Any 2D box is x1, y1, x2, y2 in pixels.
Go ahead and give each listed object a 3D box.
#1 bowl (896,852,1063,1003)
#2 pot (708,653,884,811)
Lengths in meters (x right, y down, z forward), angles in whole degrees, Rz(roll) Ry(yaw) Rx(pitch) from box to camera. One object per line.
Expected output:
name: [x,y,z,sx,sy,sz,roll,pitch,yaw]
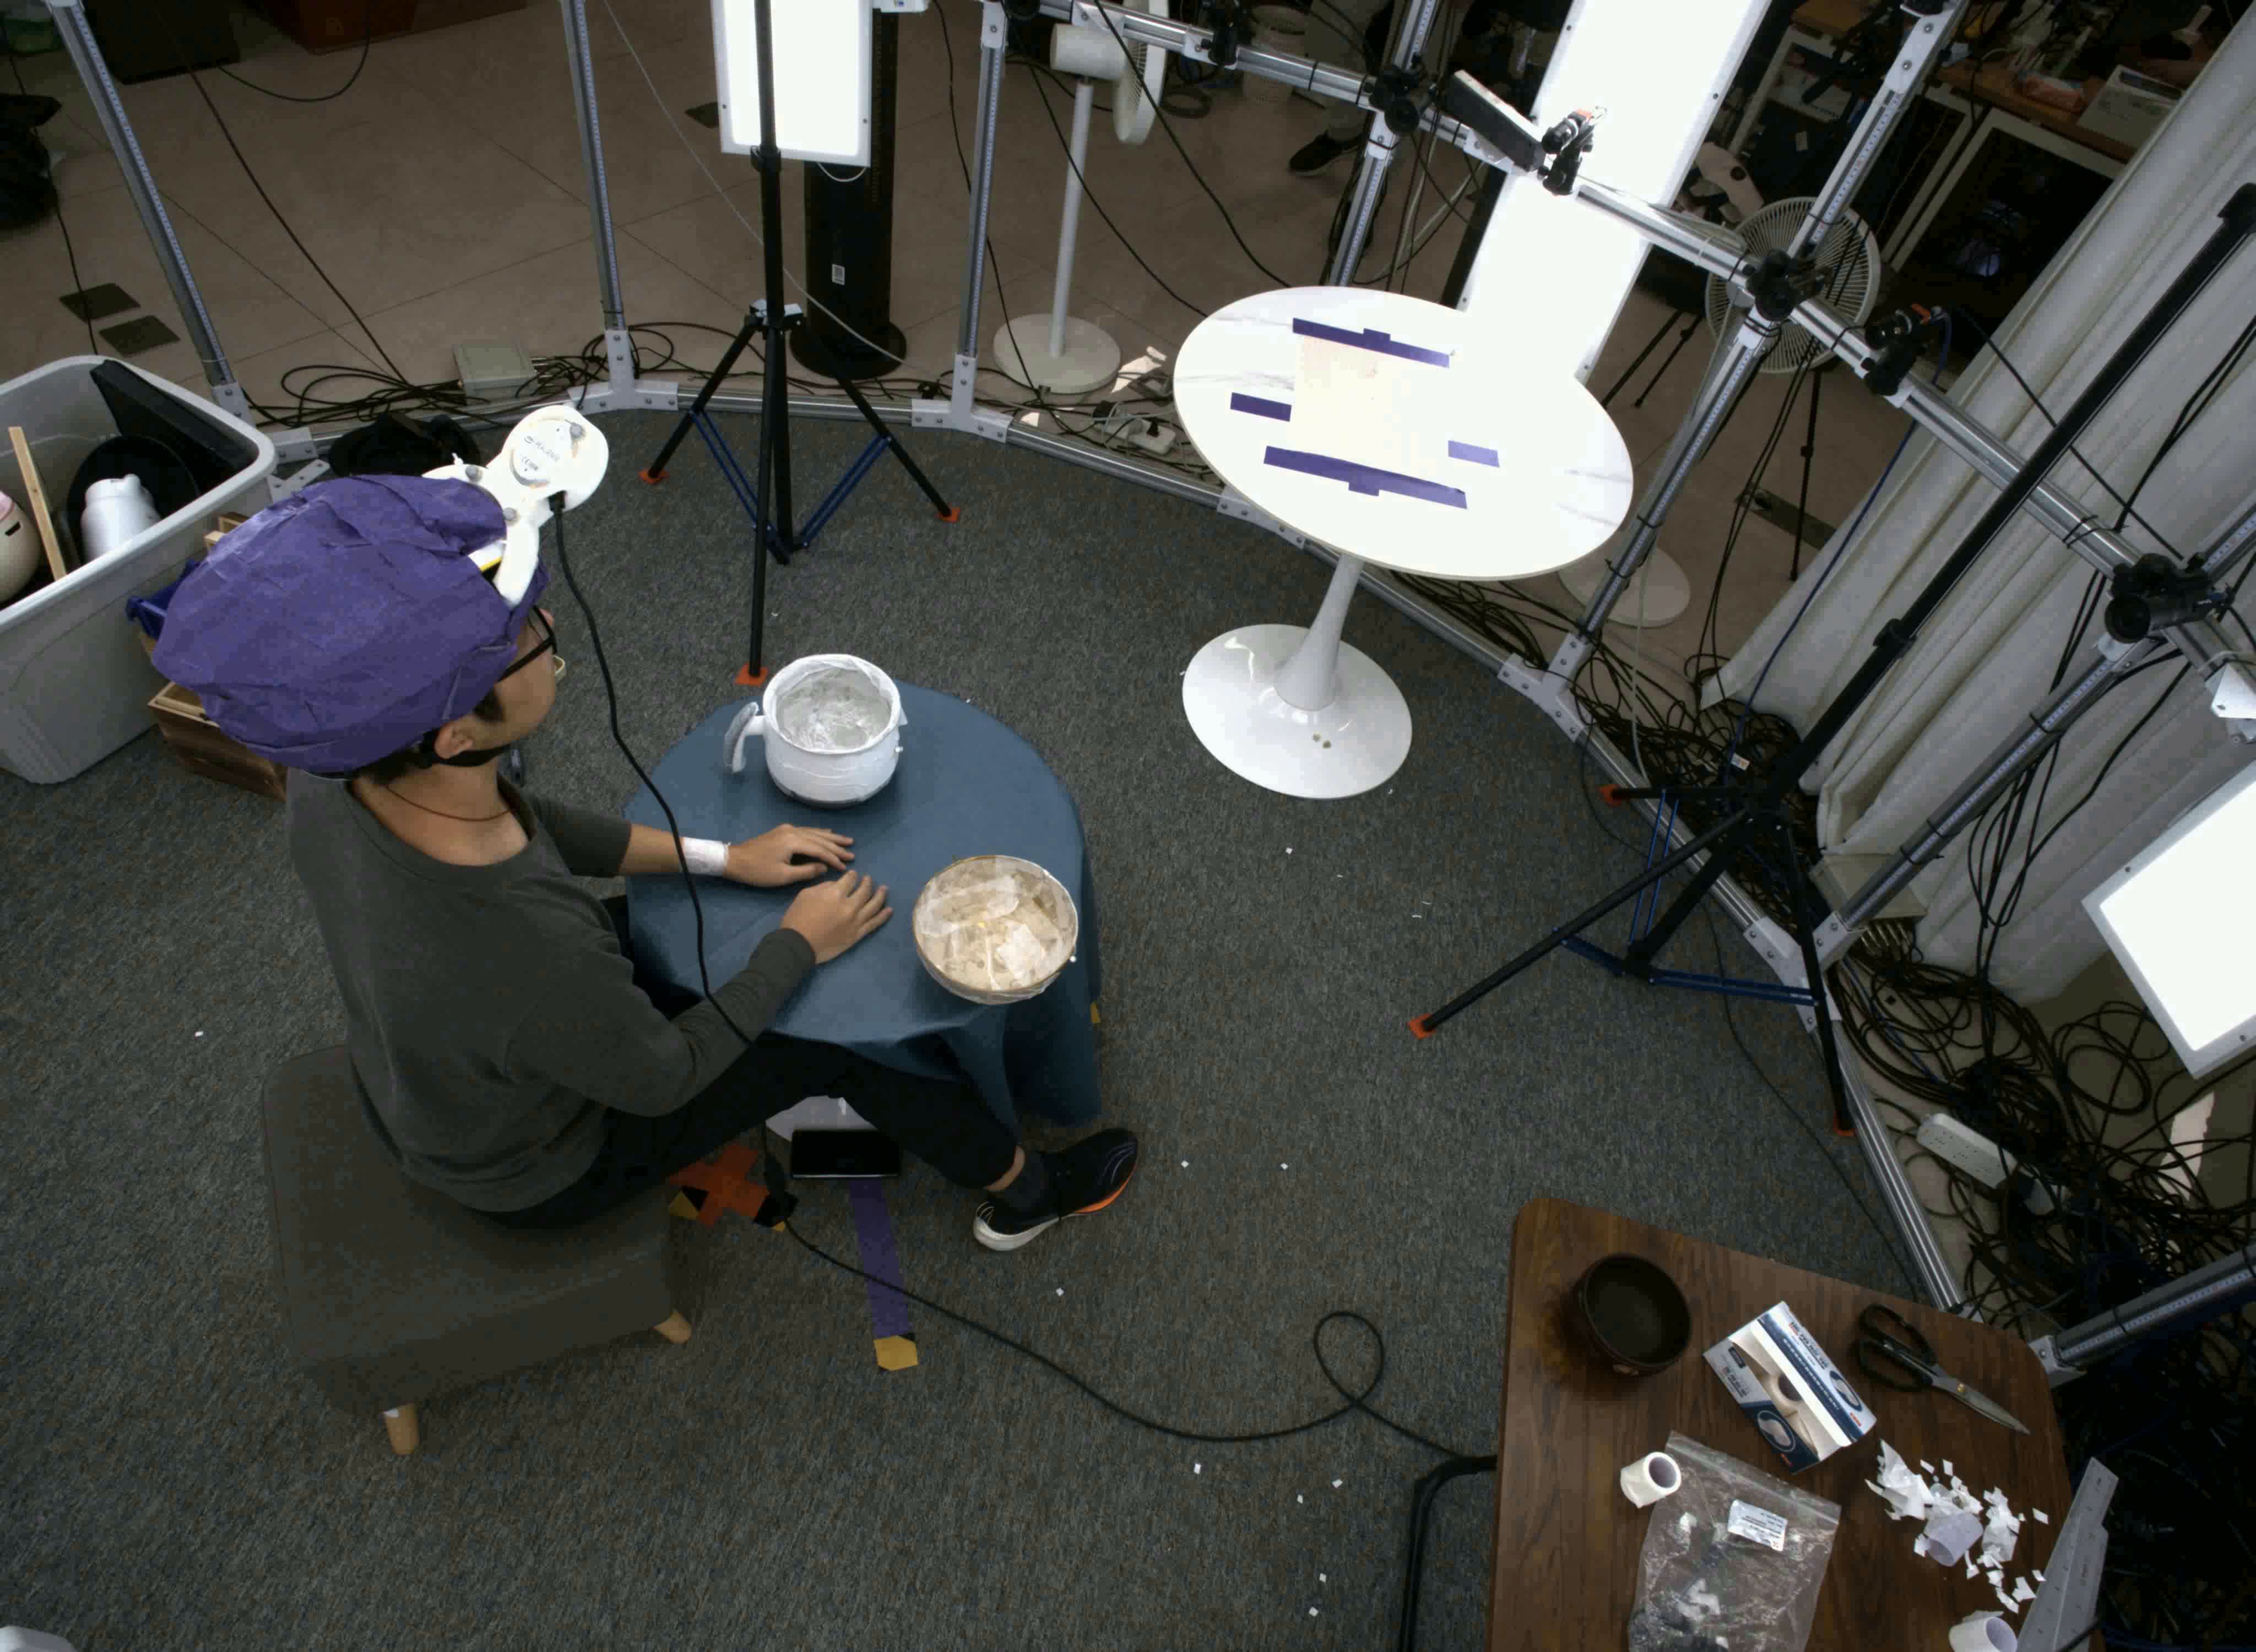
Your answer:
bowl: [-0.189,0.140,1.632,0.214,0.096,0.211,7,55,-8]
pot: [-0.444,-0.119,1.730,0.234,0.139,0.174,-7,55,-18]
